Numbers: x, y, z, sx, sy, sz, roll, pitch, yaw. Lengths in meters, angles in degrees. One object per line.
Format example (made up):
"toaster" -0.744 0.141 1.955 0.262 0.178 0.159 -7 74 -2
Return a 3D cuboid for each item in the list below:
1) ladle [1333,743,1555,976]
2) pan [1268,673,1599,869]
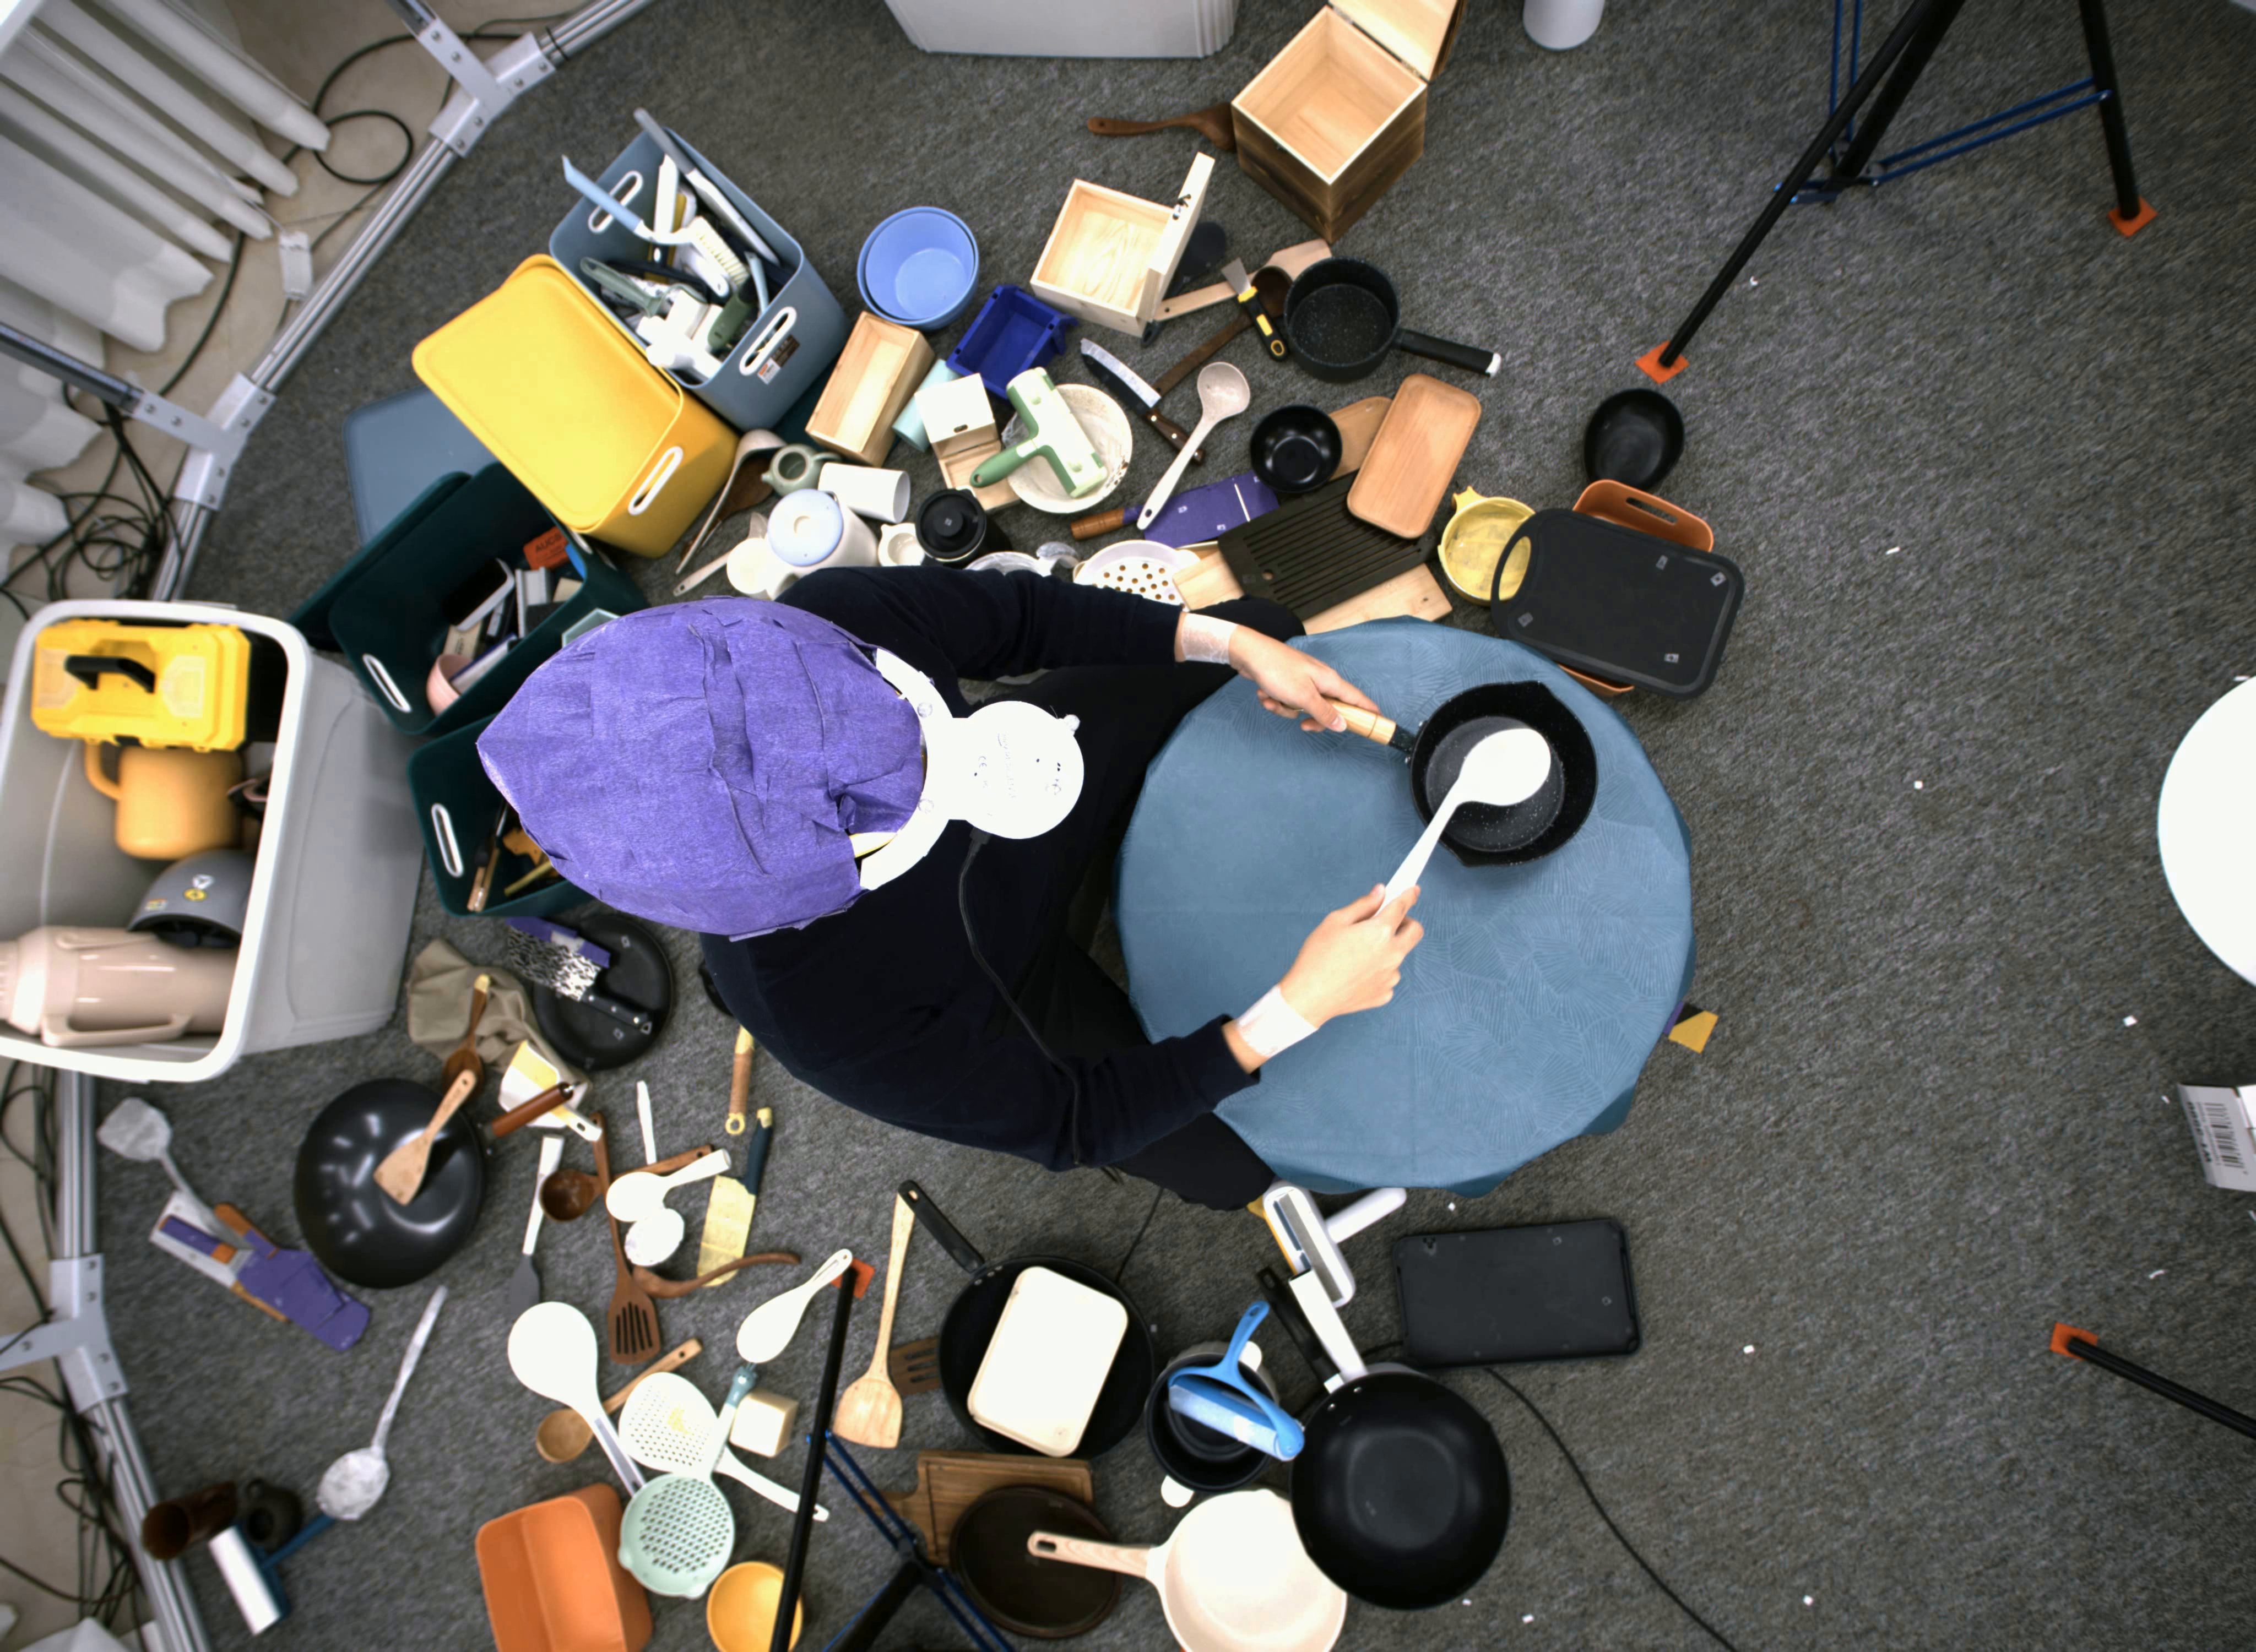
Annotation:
"ladle" 0.297 0.029 1.281 0.069 0.092 0.288 25 63 34
"pan" 0.304 -0.078 1.405 0.343 0.108 0.207 20 91 8
